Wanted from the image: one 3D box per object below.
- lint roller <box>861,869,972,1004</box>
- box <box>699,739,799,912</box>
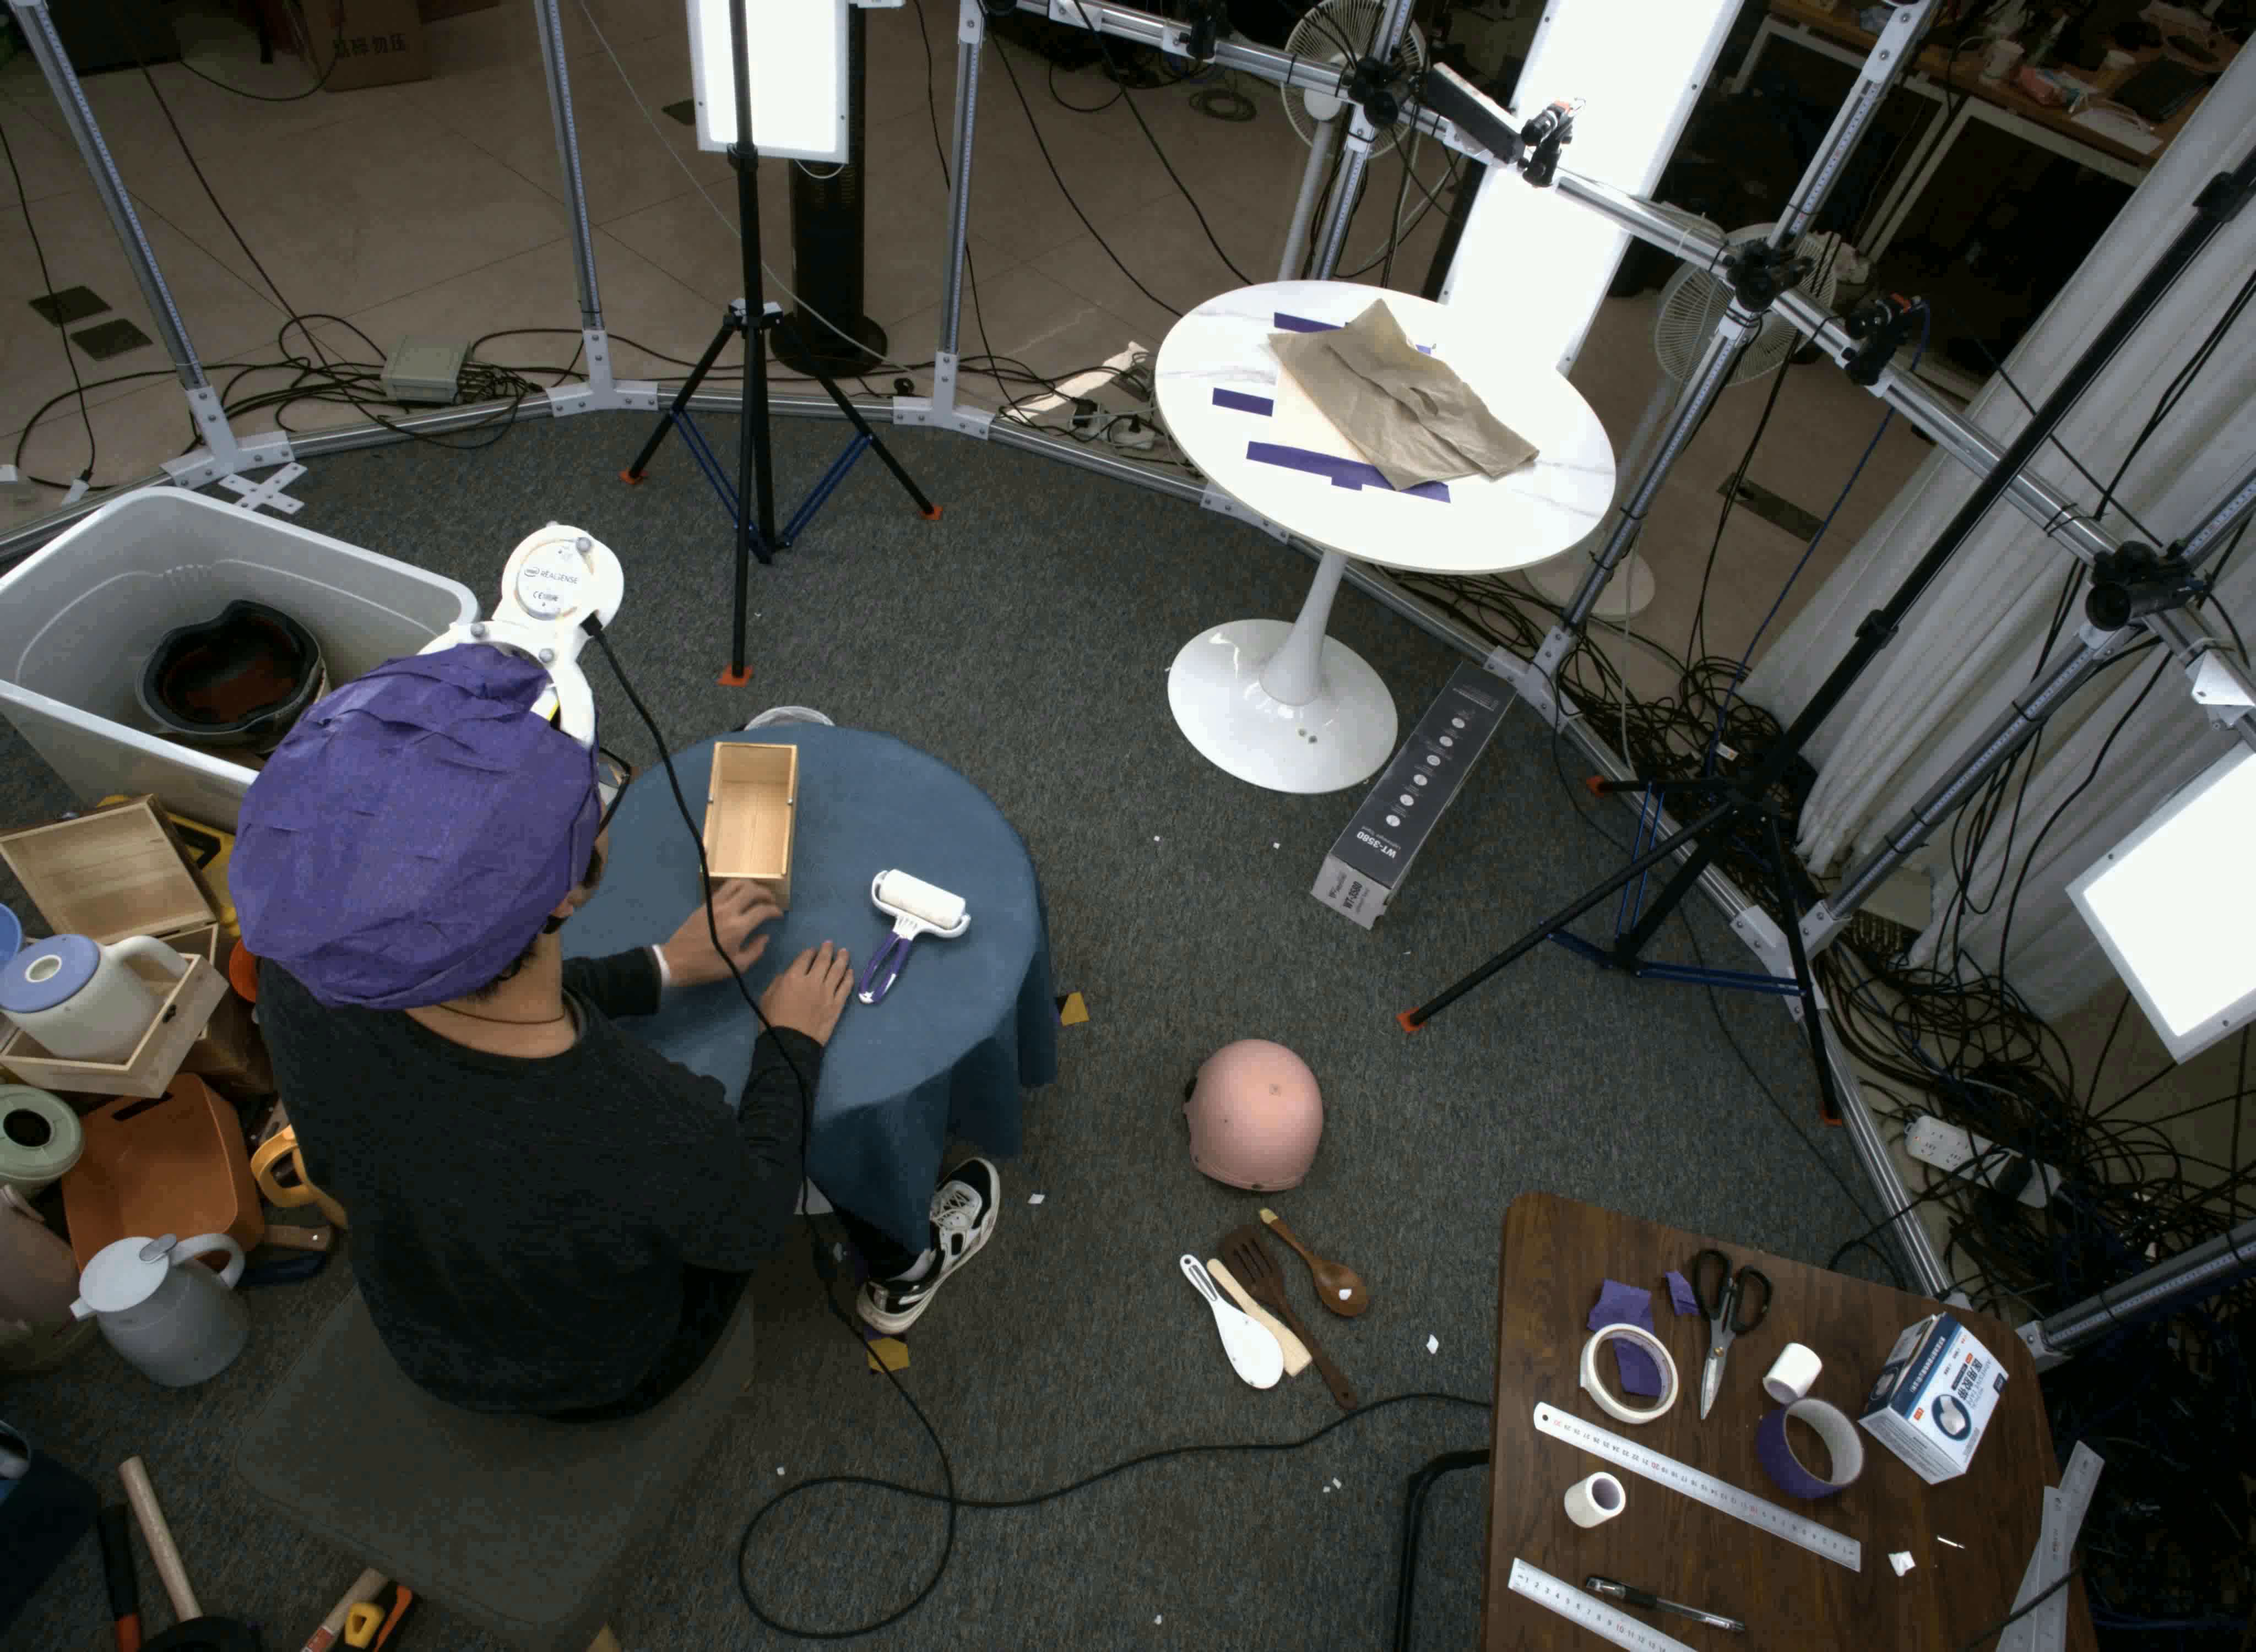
[{"bbox_3d":[-0.286,0.138,1.622,0.131,0.051,0.179,25,50,4],"label":"lint roller"},{"bbox_3d":[-0.482,-0.003,1.655,0.107,0.082,0.207,2,54,-13],"label":"box"}]
